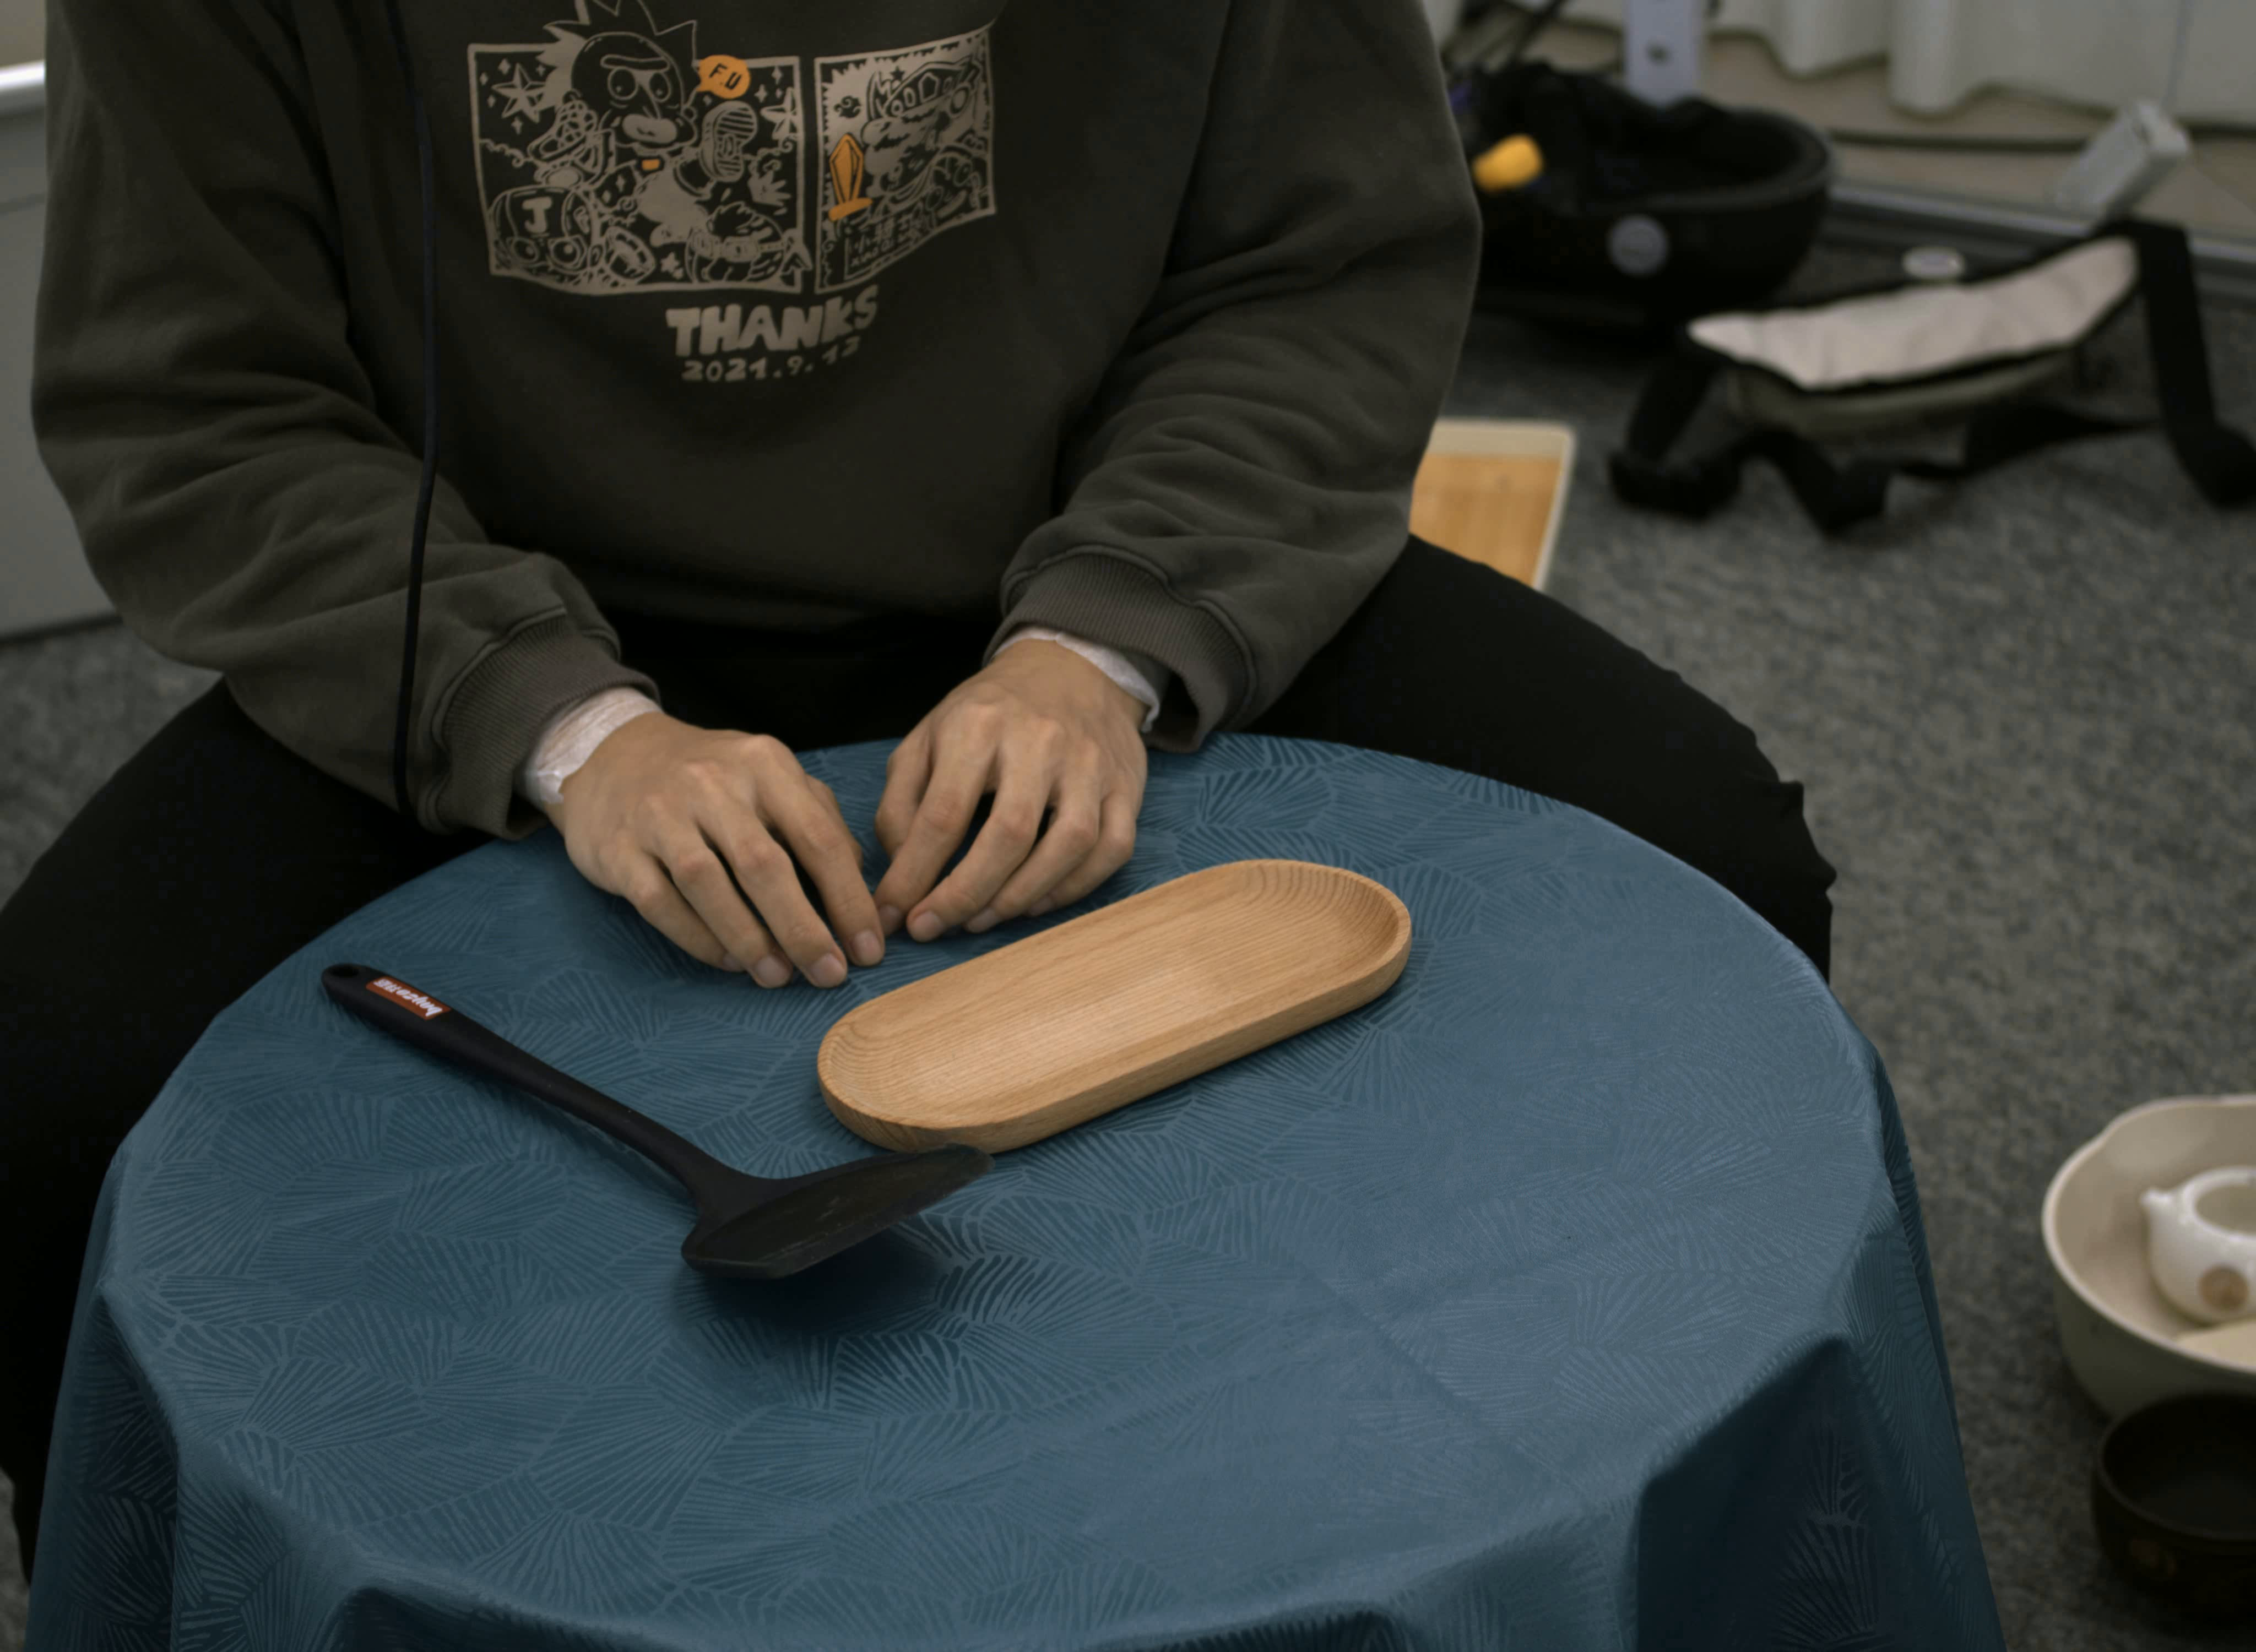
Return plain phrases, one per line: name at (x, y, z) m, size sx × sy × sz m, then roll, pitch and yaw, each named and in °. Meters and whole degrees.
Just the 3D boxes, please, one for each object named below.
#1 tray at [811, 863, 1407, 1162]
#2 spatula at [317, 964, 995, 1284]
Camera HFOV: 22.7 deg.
tray at (-0.005, 0.064, 1.954) m, size 0.233 × 0.020 × 0.102 m, roll -22°, pitch 33°, yaw -30°
spatula at (-0.180, 0.092, 1.896) m, size 0.101 × 0.040 × 0.326 m, roll -24°, pitch 34°, yaw -36°
